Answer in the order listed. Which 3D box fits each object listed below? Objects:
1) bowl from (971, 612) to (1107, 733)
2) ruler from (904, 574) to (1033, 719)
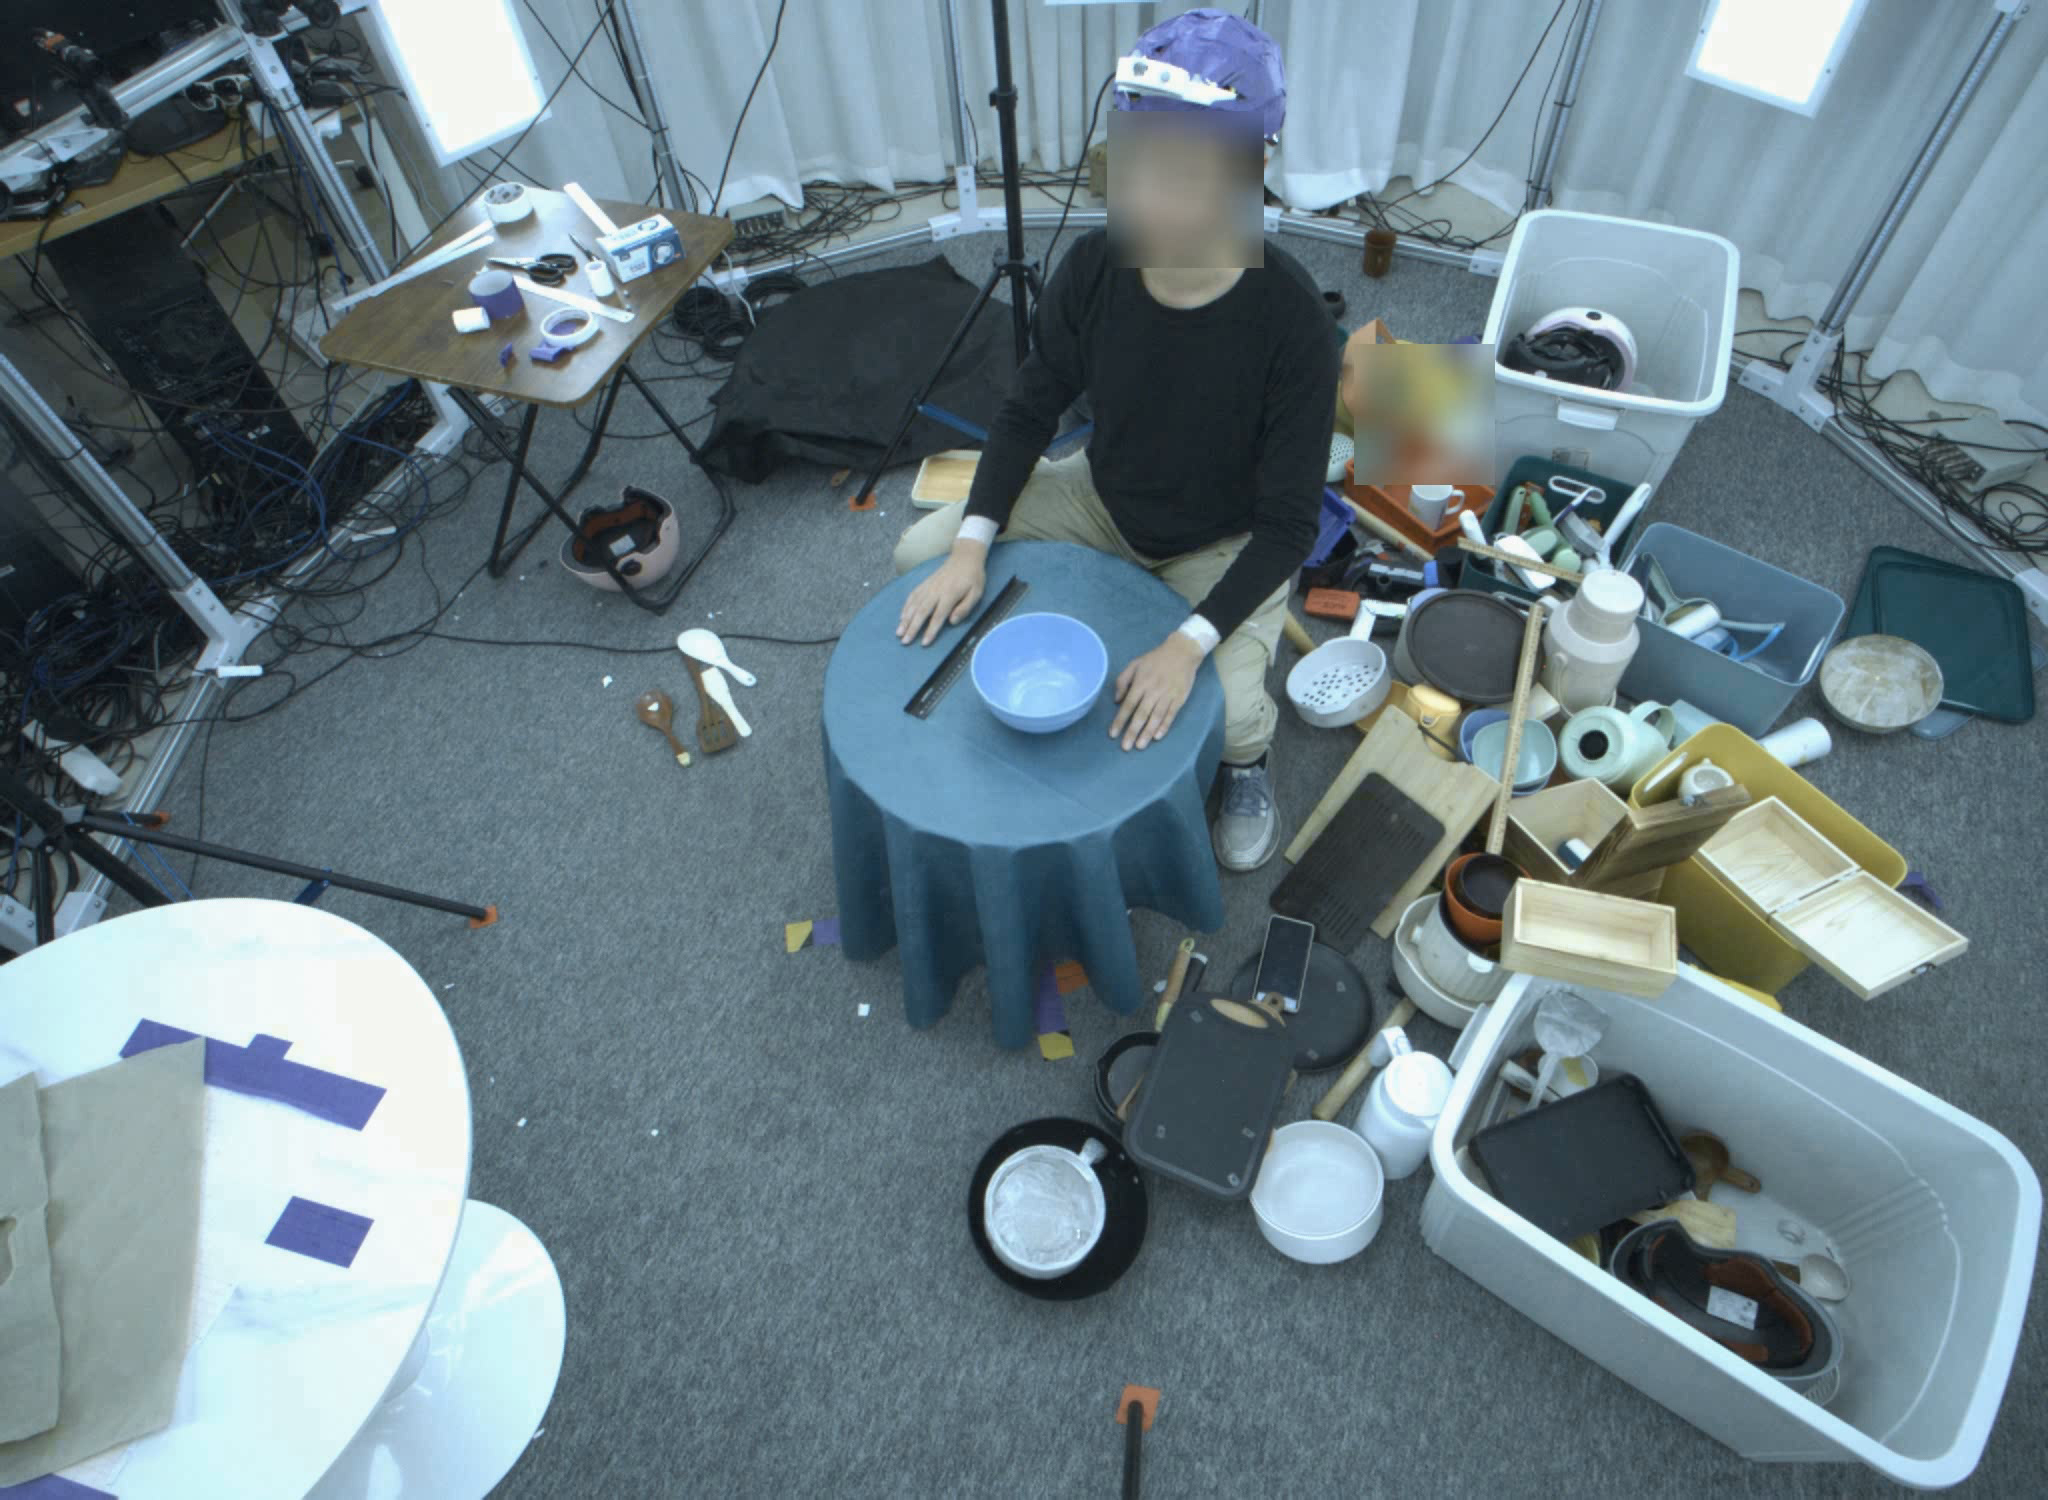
[{"bbox_3d":[0.024,-0.098,1.798,0.196,0.096,0.194,-1,56,2],"label":"bowl"},{"bbox_3d":[-0.083,-0.165,1.898,0.039,0.017,0.313,29,60,14],"label":"ruler"}]
